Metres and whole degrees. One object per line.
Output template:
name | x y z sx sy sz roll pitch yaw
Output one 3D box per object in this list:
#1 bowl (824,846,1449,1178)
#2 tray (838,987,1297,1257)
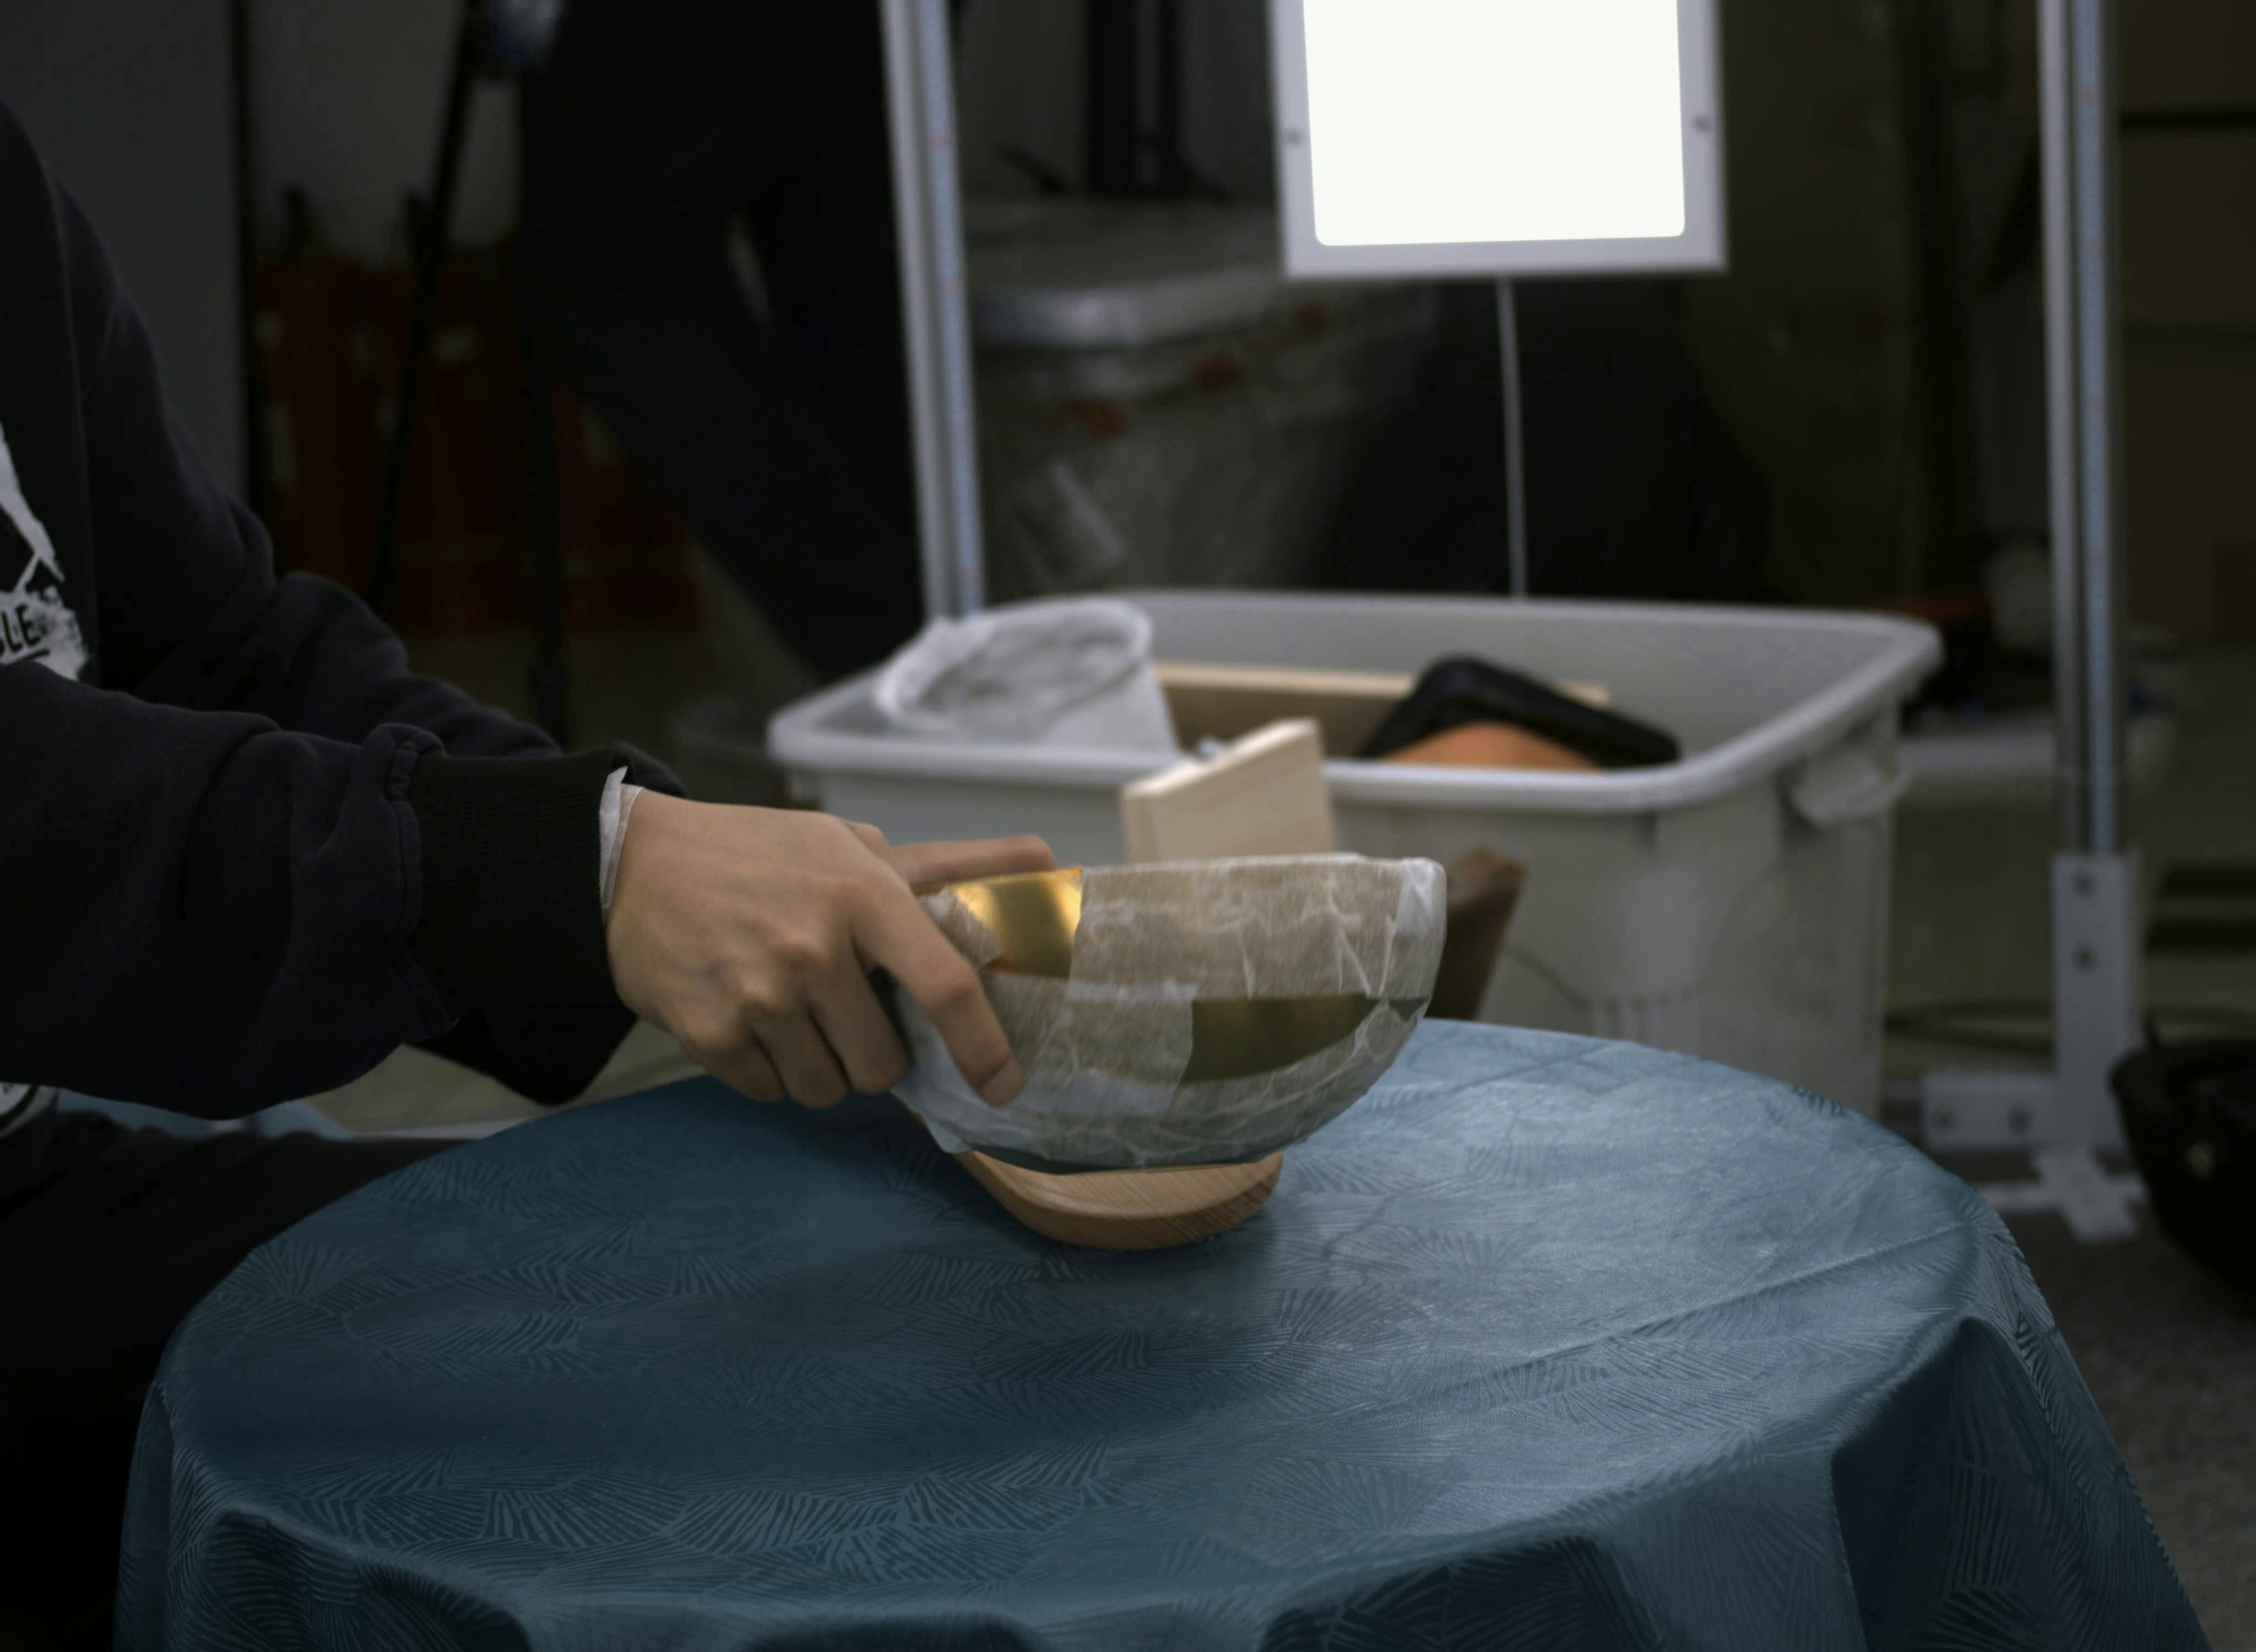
bowl | 0.004 0.064 1.762 0.214 0.095 0.215 -4 -6 -2
tray | -0.023 0.092 1.926 0.100 0.020 0.234 -17 30 -22
